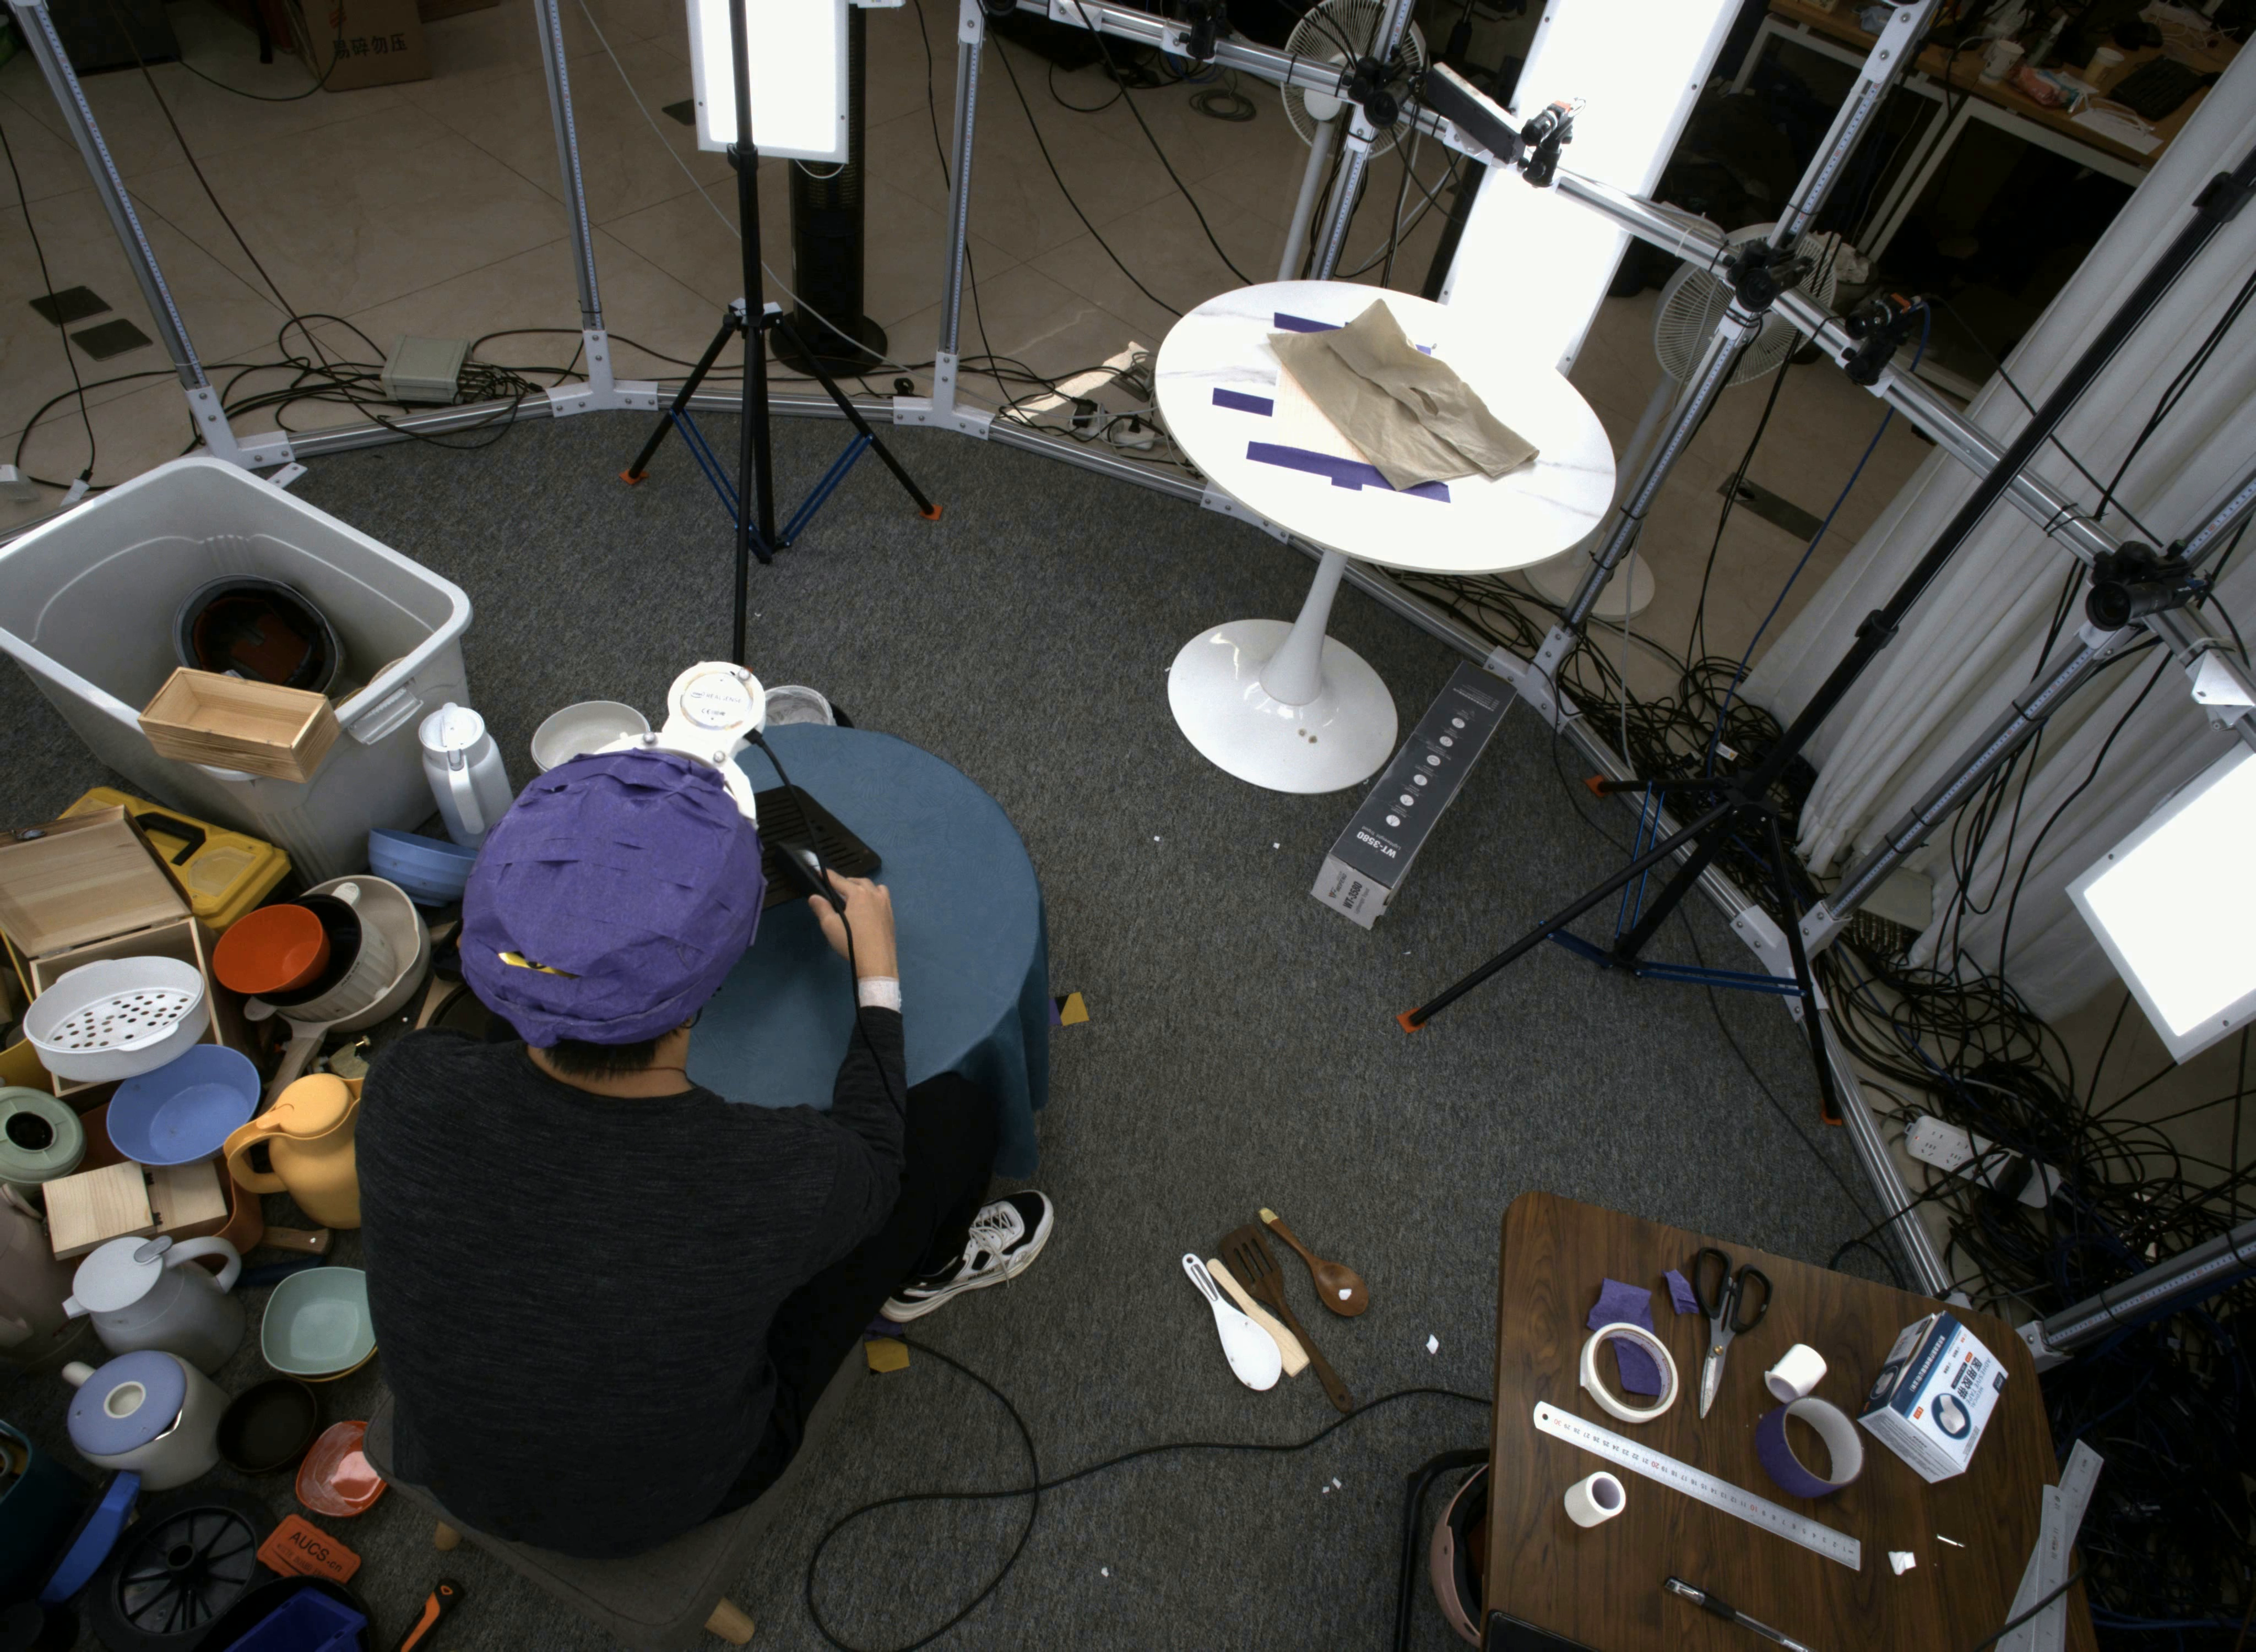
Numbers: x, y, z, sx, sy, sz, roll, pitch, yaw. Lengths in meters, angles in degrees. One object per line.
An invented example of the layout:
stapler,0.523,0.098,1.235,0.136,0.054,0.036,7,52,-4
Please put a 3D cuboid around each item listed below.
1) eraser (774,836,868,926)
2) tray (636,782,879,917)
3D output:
eraser,-0.370,0.063,1.558,0.123,0.030,0.054,46,26,19
tray,-0.446,0.023,1.582,0.168,0.019,0.308,41,22,10
